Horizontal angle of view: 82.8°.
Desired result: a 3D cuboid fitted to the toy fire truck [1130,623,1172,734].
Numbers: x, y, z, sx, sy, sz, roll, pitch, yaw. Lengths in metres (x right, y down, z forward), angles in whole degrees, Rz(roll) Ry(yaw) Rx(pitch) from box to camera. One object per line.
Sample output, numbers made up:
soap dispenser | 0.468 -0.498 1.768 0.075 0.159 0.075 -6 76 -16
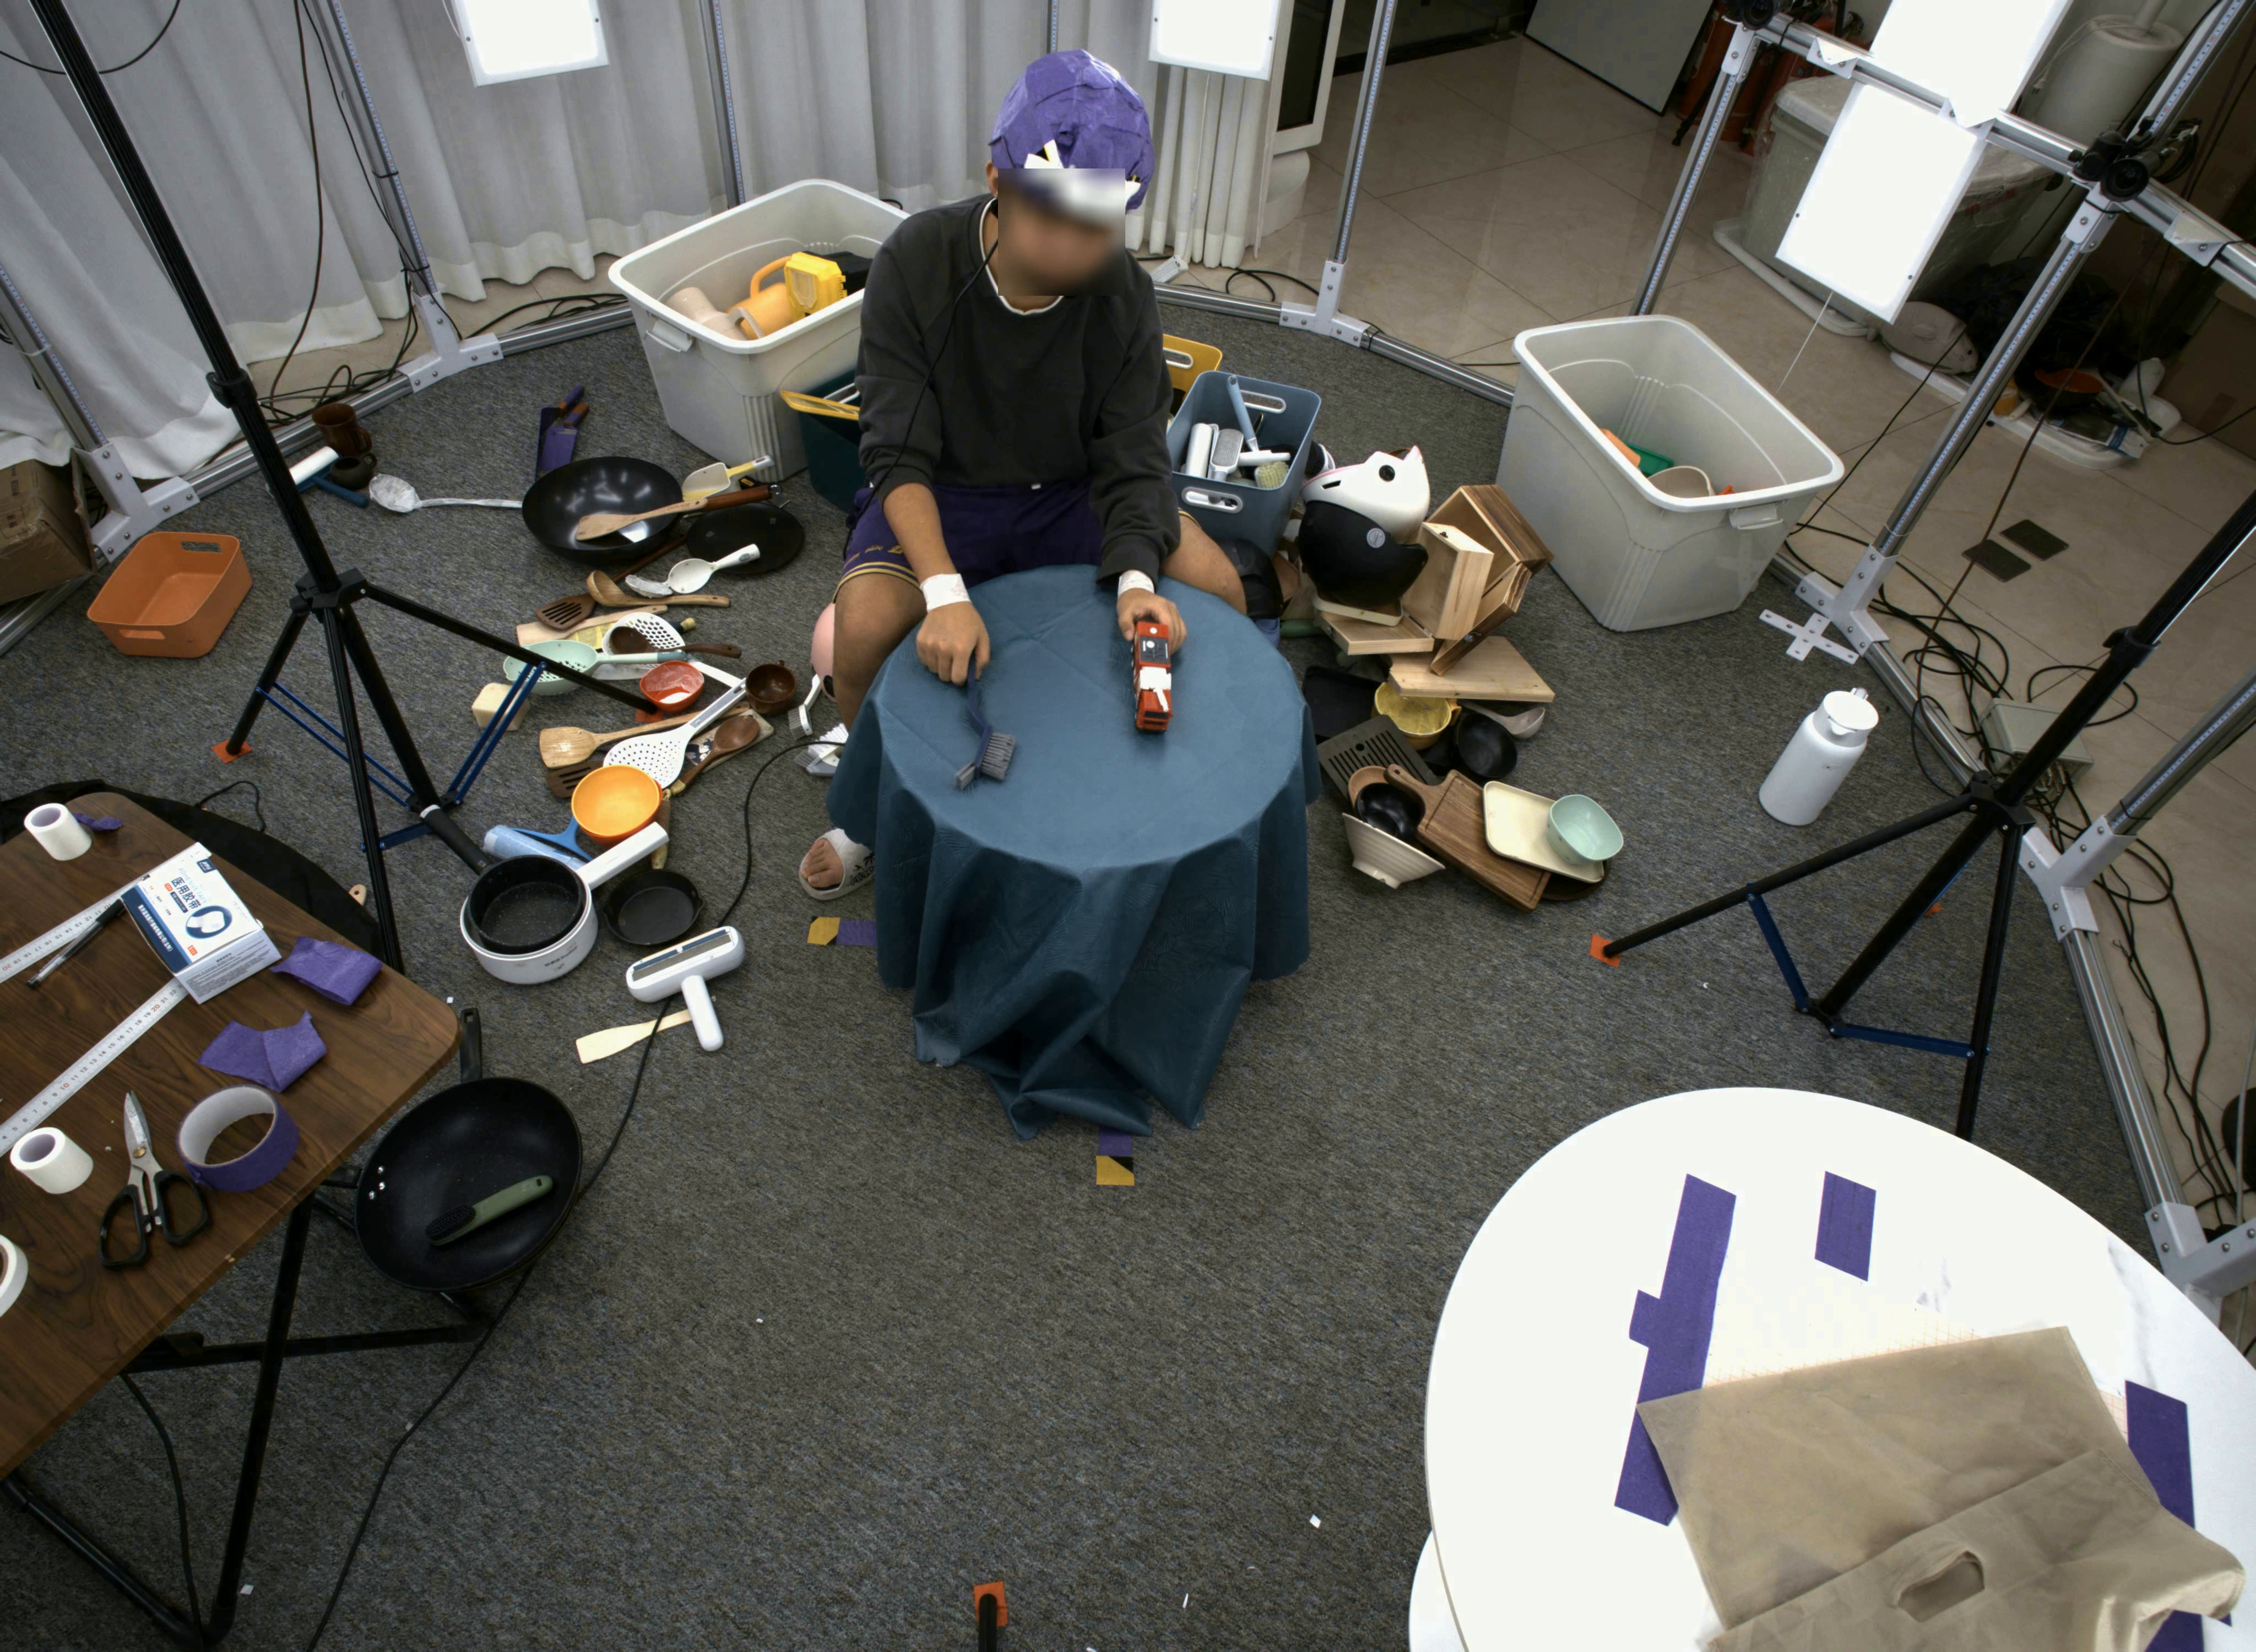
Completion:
toy fire truck | 0.033 -0.209 1.799 0.054 0.069 0.172 4 57 -12

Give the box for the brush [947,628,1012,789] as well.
brush | -0.221 -0.168 1.776 0.095 0.033 0.280 -8 51 -10
